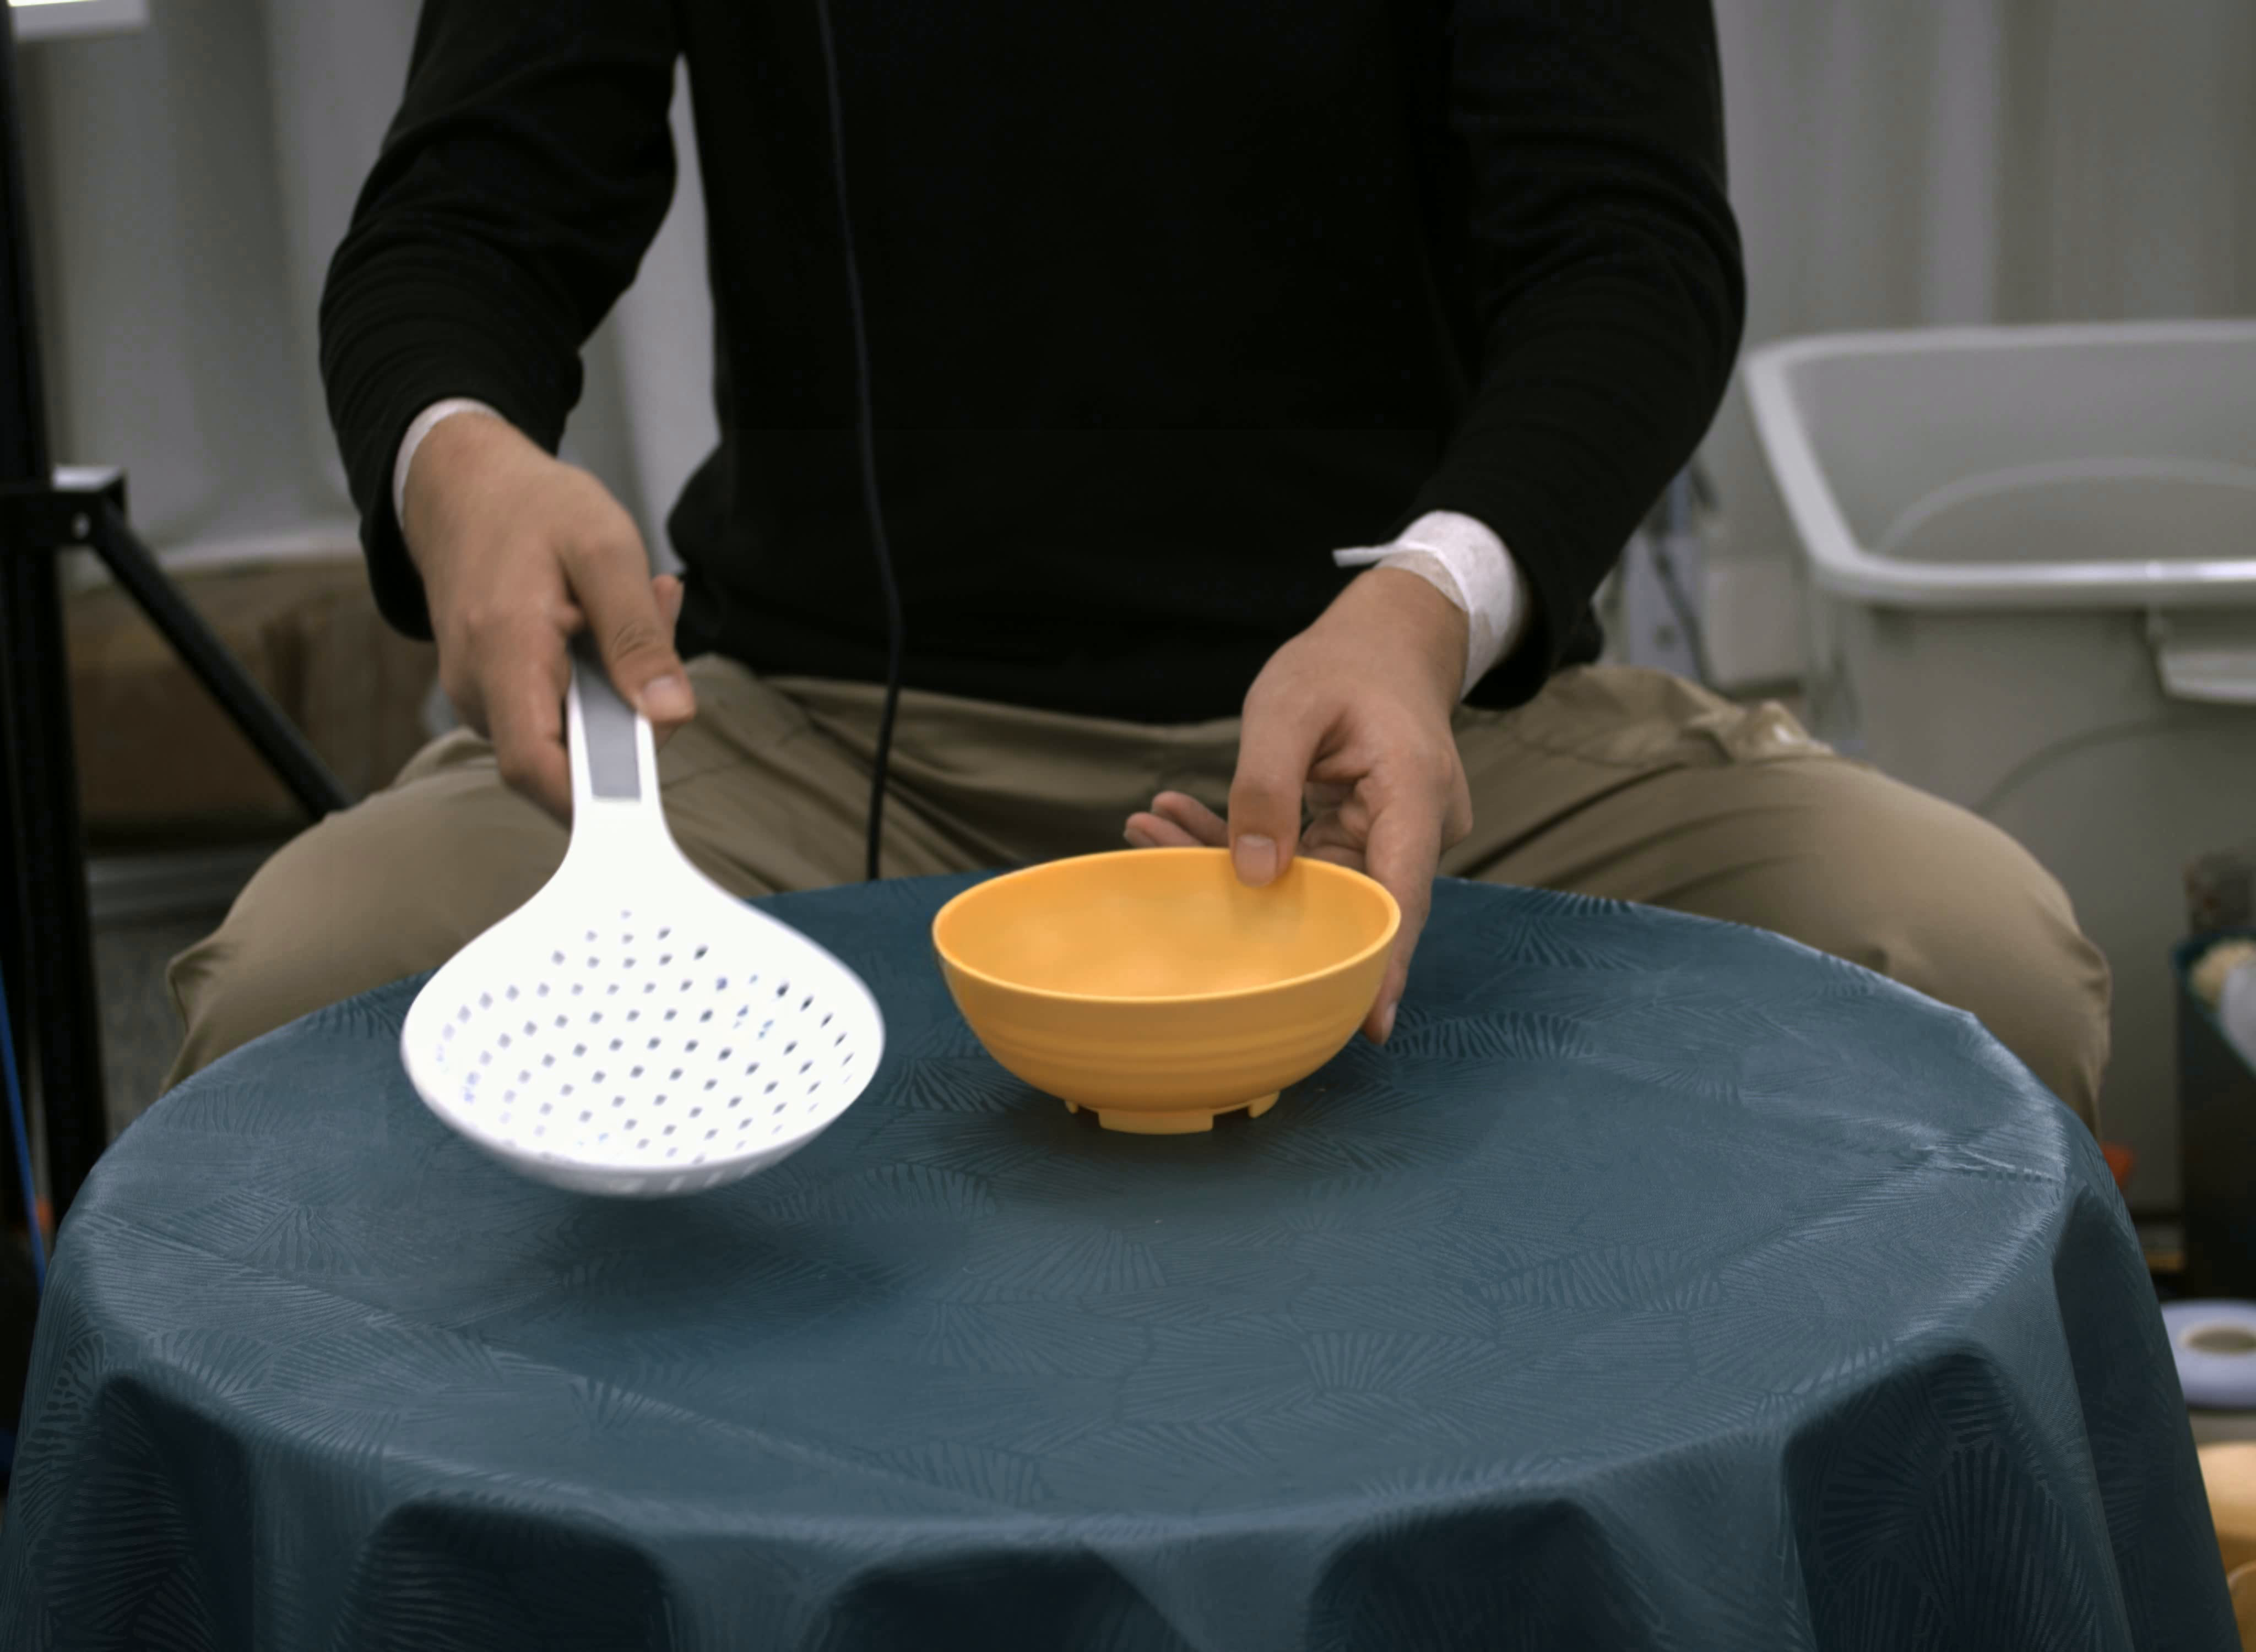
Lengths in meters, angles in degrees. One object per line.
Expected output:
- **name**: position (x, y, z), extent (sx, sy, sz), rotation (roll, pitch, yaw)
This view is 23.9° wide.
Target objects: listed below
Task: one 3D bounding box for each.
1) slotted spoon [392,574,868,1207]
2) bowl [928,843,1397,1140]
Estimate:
- **slotted spoon**: position (-0.156, 0.013, 1.619), extent (0.135, 0.045, 0.354), rotation (-3, 36, -6)
- **bowl**: position (0.011, 0.057, 1.631), extent (0.144, 0.060, 0.146), rotation (-2, 19, -1)
